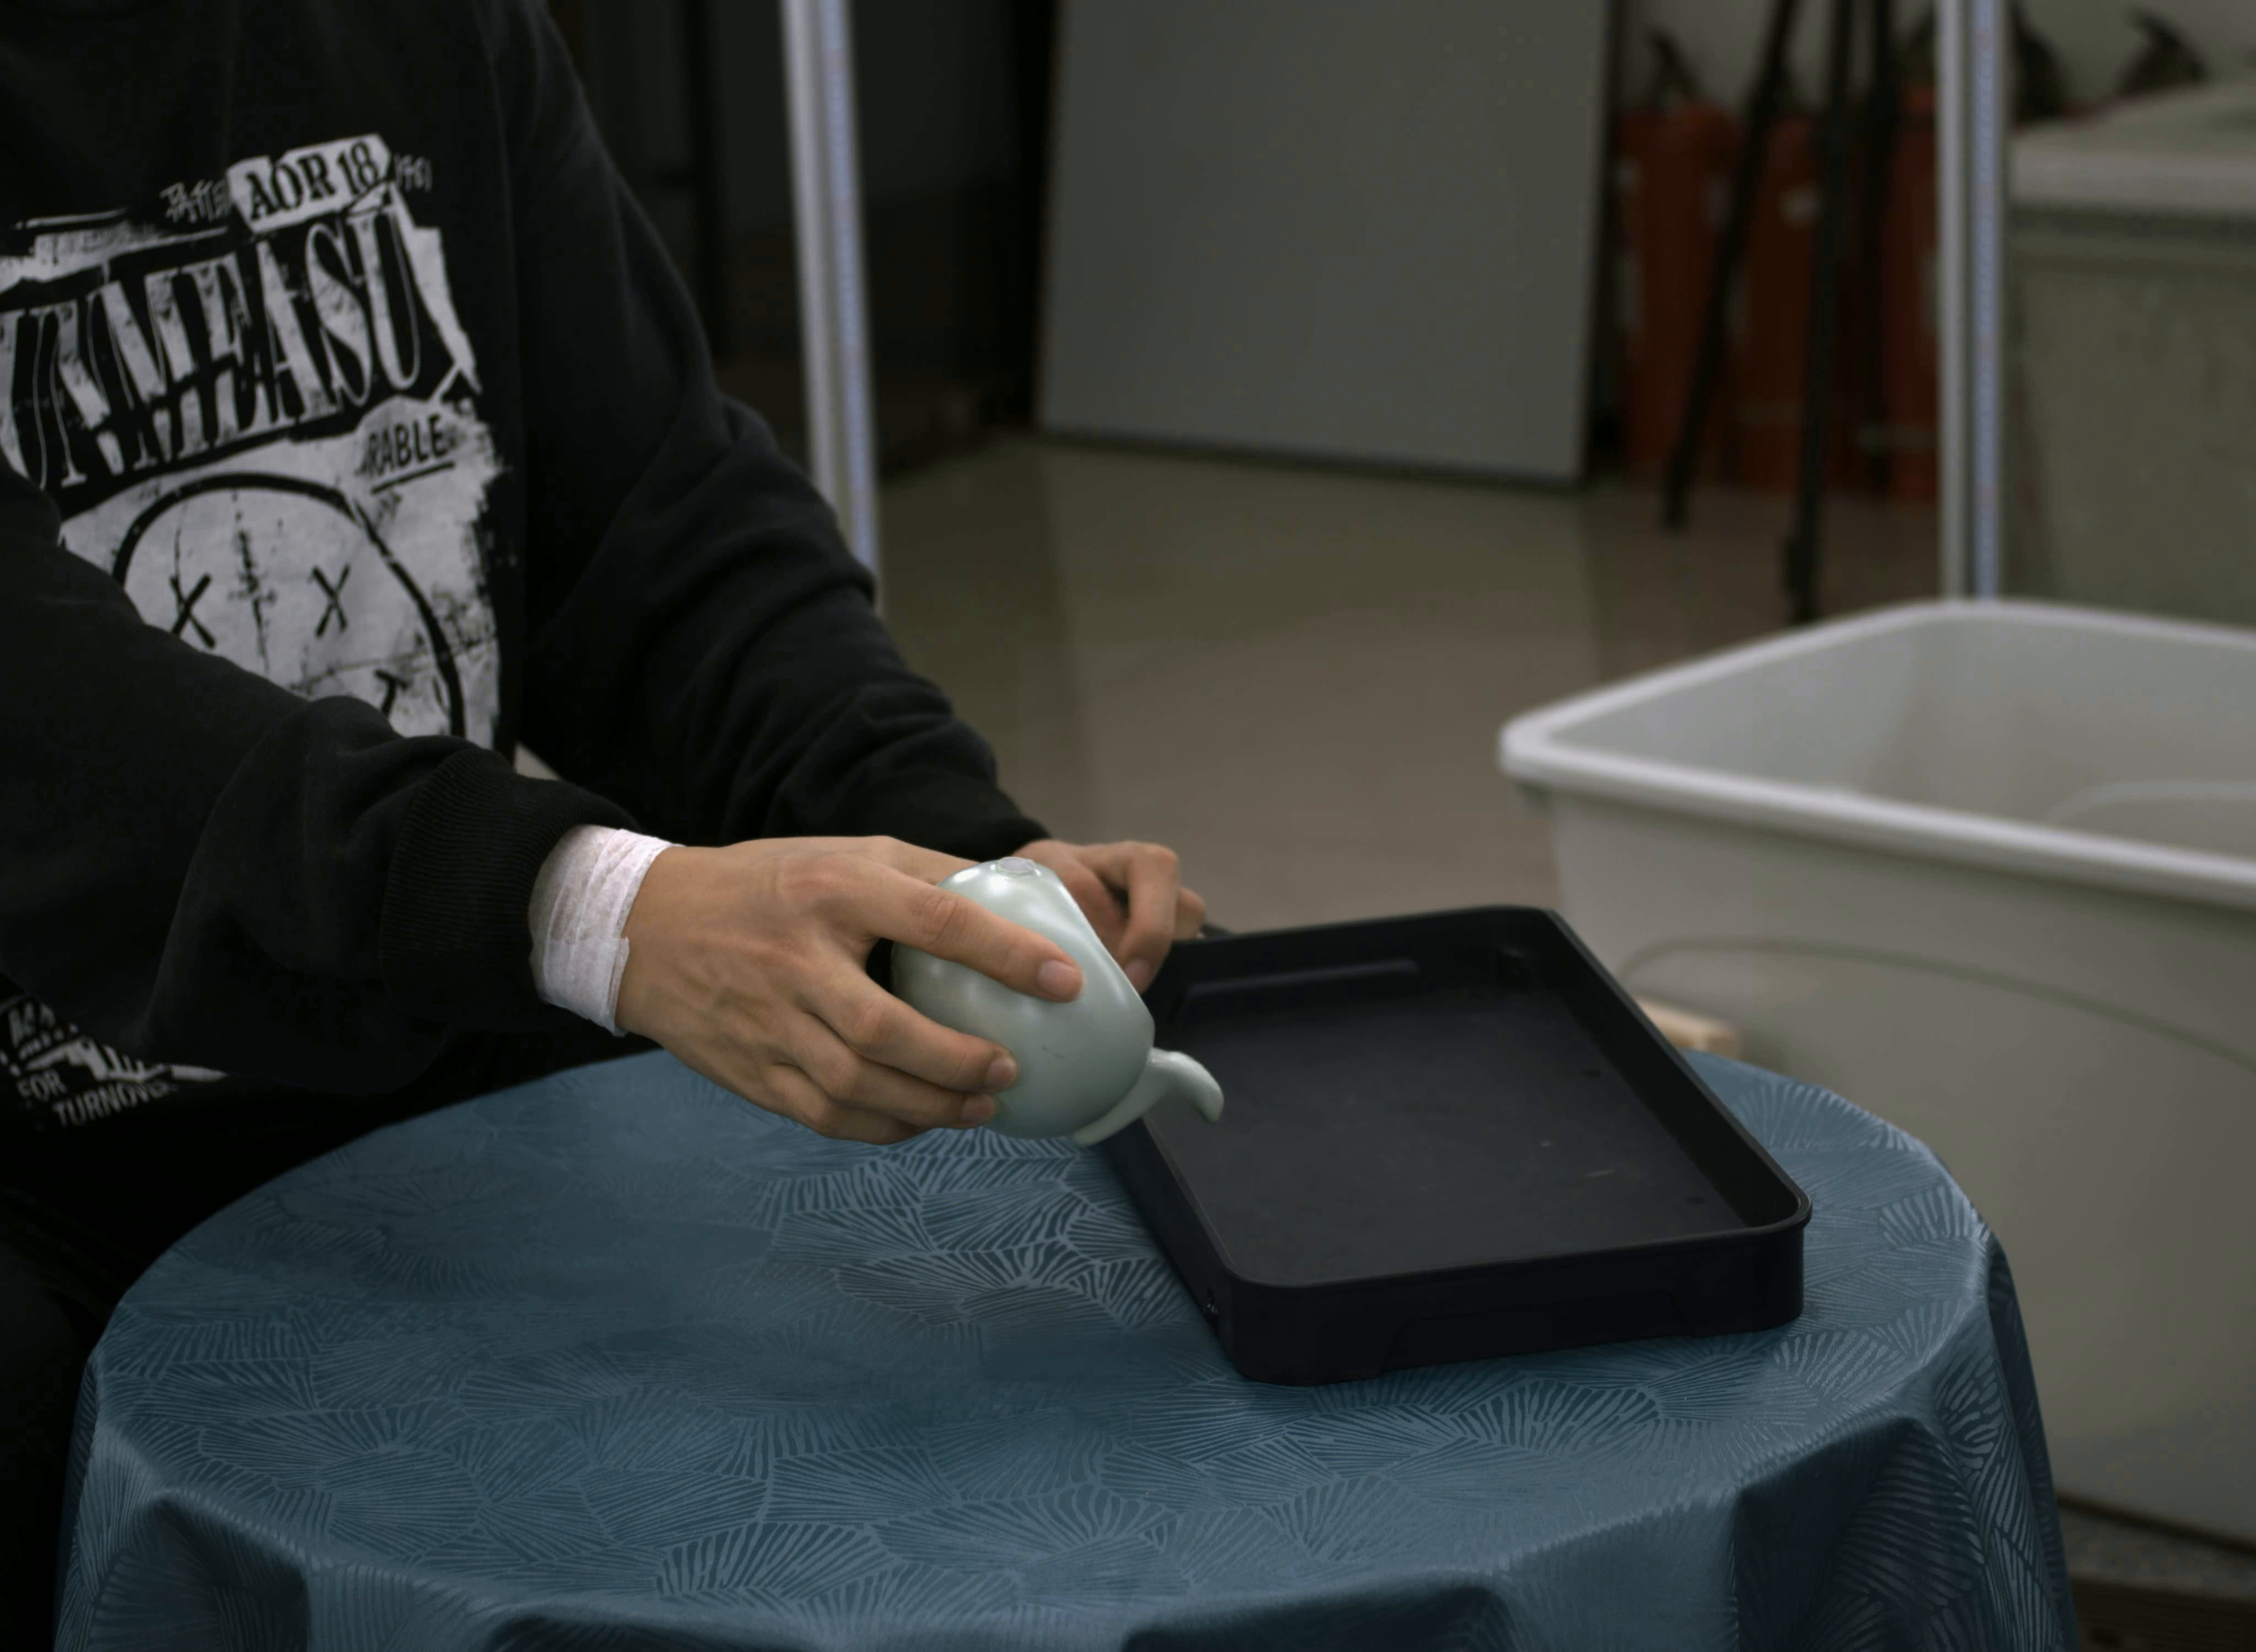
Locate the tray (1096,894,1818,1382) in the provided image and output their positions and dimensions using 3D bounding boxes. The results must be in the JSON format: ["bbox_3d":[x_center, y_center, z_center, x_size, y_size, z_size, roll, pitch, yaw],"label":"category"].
[{"bbox_3d":[0.089,0.095,1.739,0.181,0.037,0.320,-8,18,-11],"label":"tray"}]

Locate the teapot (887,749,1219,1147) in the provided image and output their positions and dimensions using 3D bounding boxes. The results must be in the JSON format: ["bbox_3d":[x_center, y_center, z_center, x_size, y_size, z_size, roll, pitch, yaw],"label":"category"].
[{"bbox_3d":[-0.032,0.051,1.648,0.074,0.144,0.089,-31,20,-2],"label":"teapot"}]
